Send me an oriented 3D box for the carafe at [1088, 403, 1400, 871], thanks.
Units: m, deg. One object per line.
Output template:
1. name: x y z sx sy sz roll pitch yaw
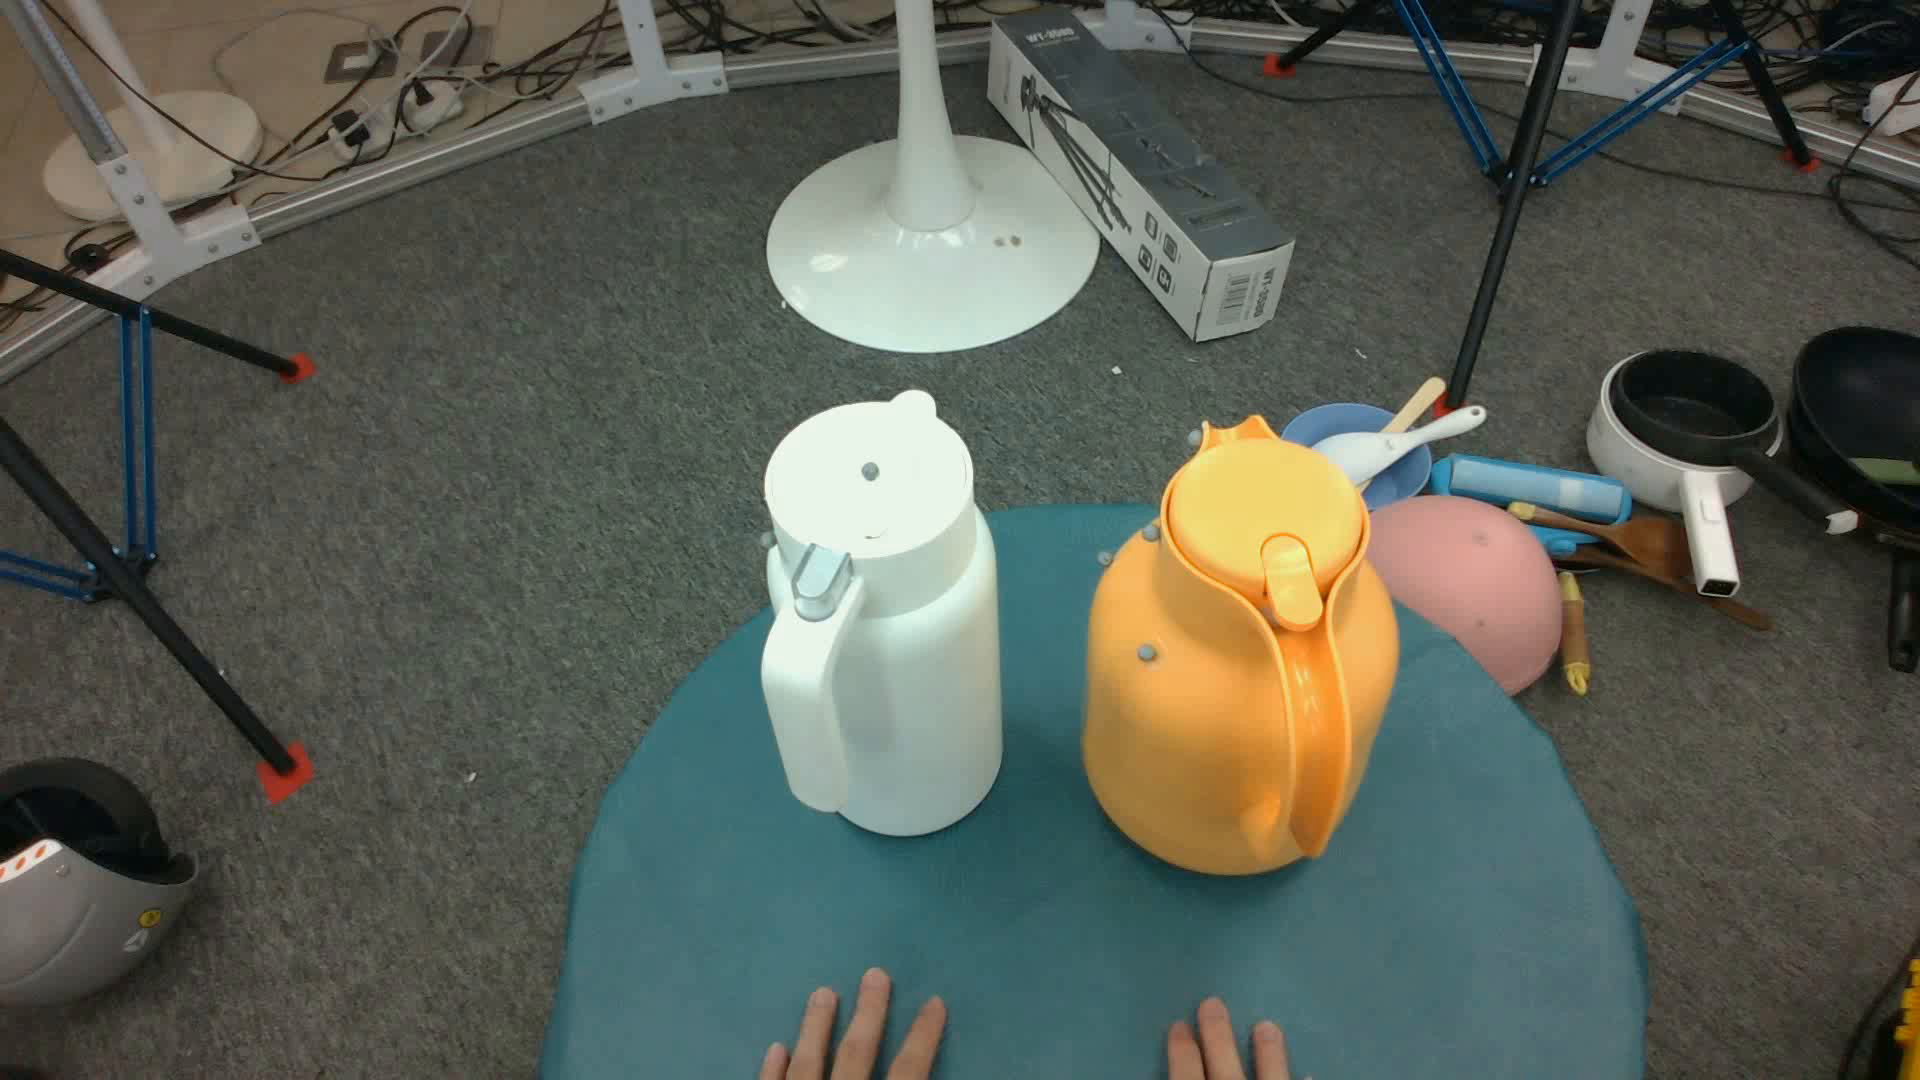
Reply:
1. carafe: 0.149 0.070 0.723 0.163 0.259 0.203 -7 50 2

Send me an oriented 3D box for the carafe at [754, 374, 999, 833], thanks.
1. carafe: -0.044 0.062 0.736 0.124 0.267 0.173 15 54 11
